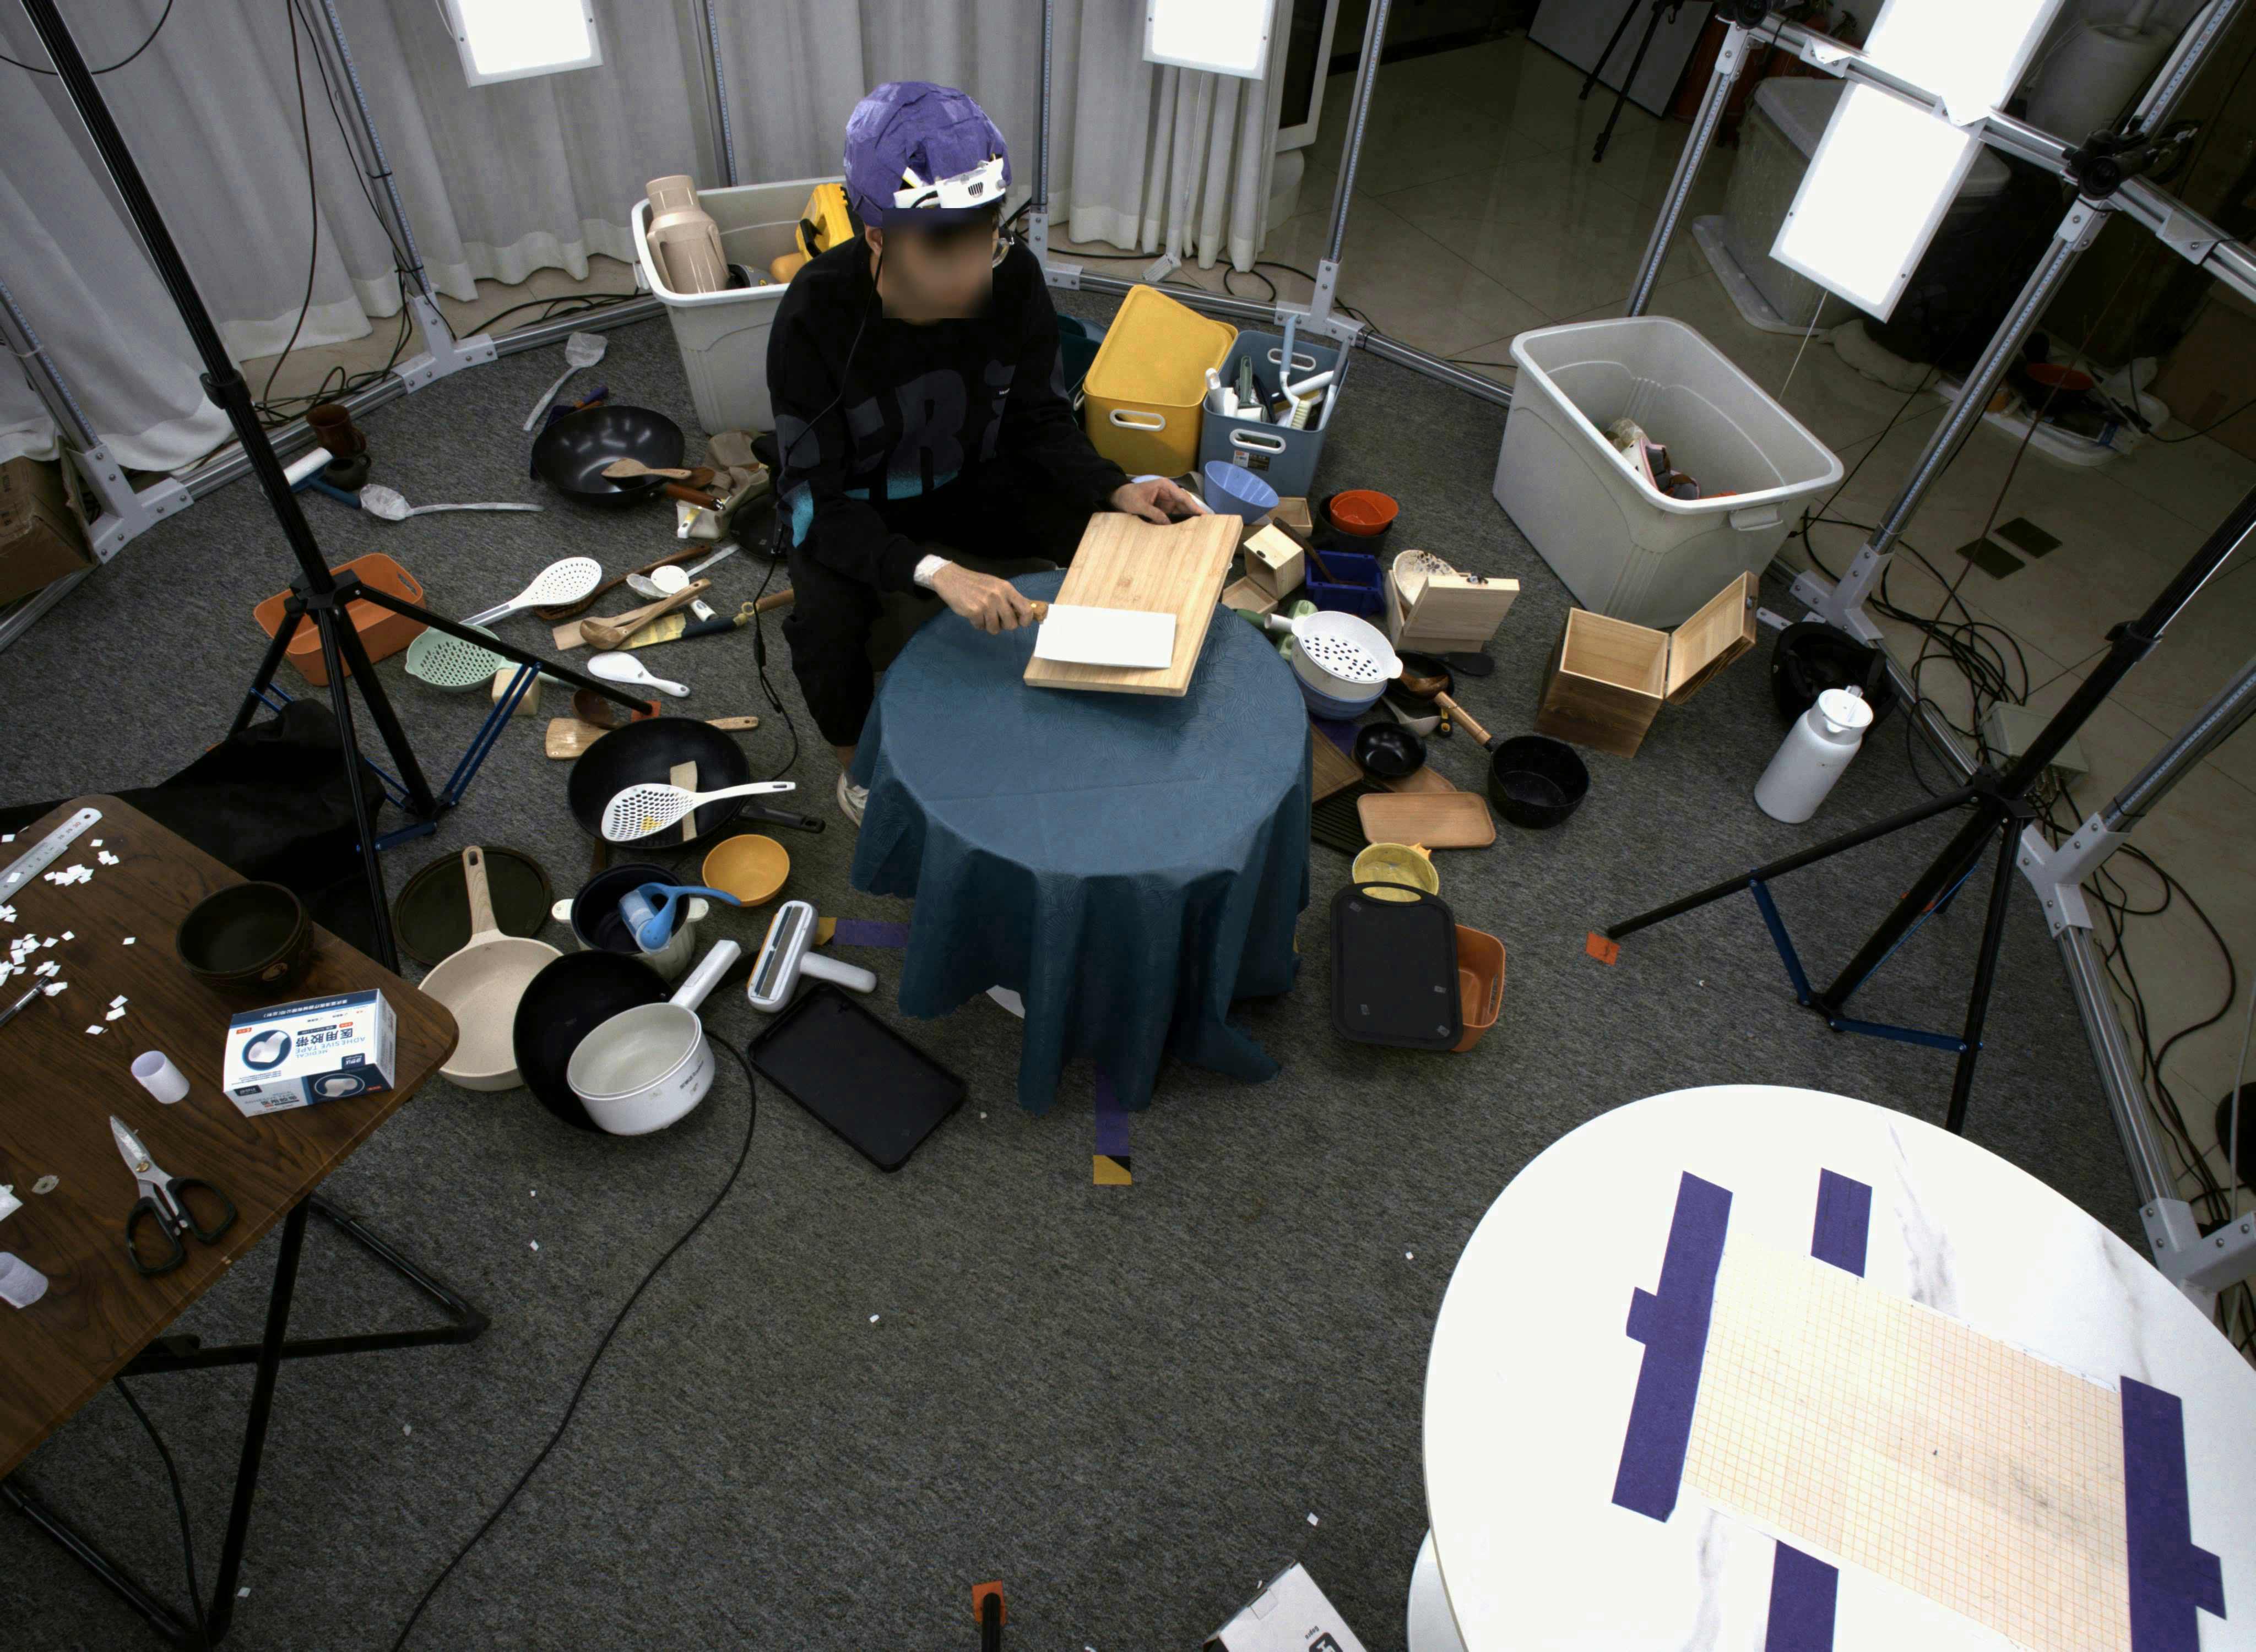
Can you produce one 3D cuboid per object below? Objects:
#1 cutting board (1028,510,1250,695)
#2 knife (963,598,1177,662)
[{"bbox_3d":[0.020,-0.334,1.878,0.252,0.023,0.356,5,56,21],"label":"cutting board"},{"bbox_3d":[-0.084,-0.271,1.792,0.306,0.020,0.094,5,65,5],"label":"knife"}]
